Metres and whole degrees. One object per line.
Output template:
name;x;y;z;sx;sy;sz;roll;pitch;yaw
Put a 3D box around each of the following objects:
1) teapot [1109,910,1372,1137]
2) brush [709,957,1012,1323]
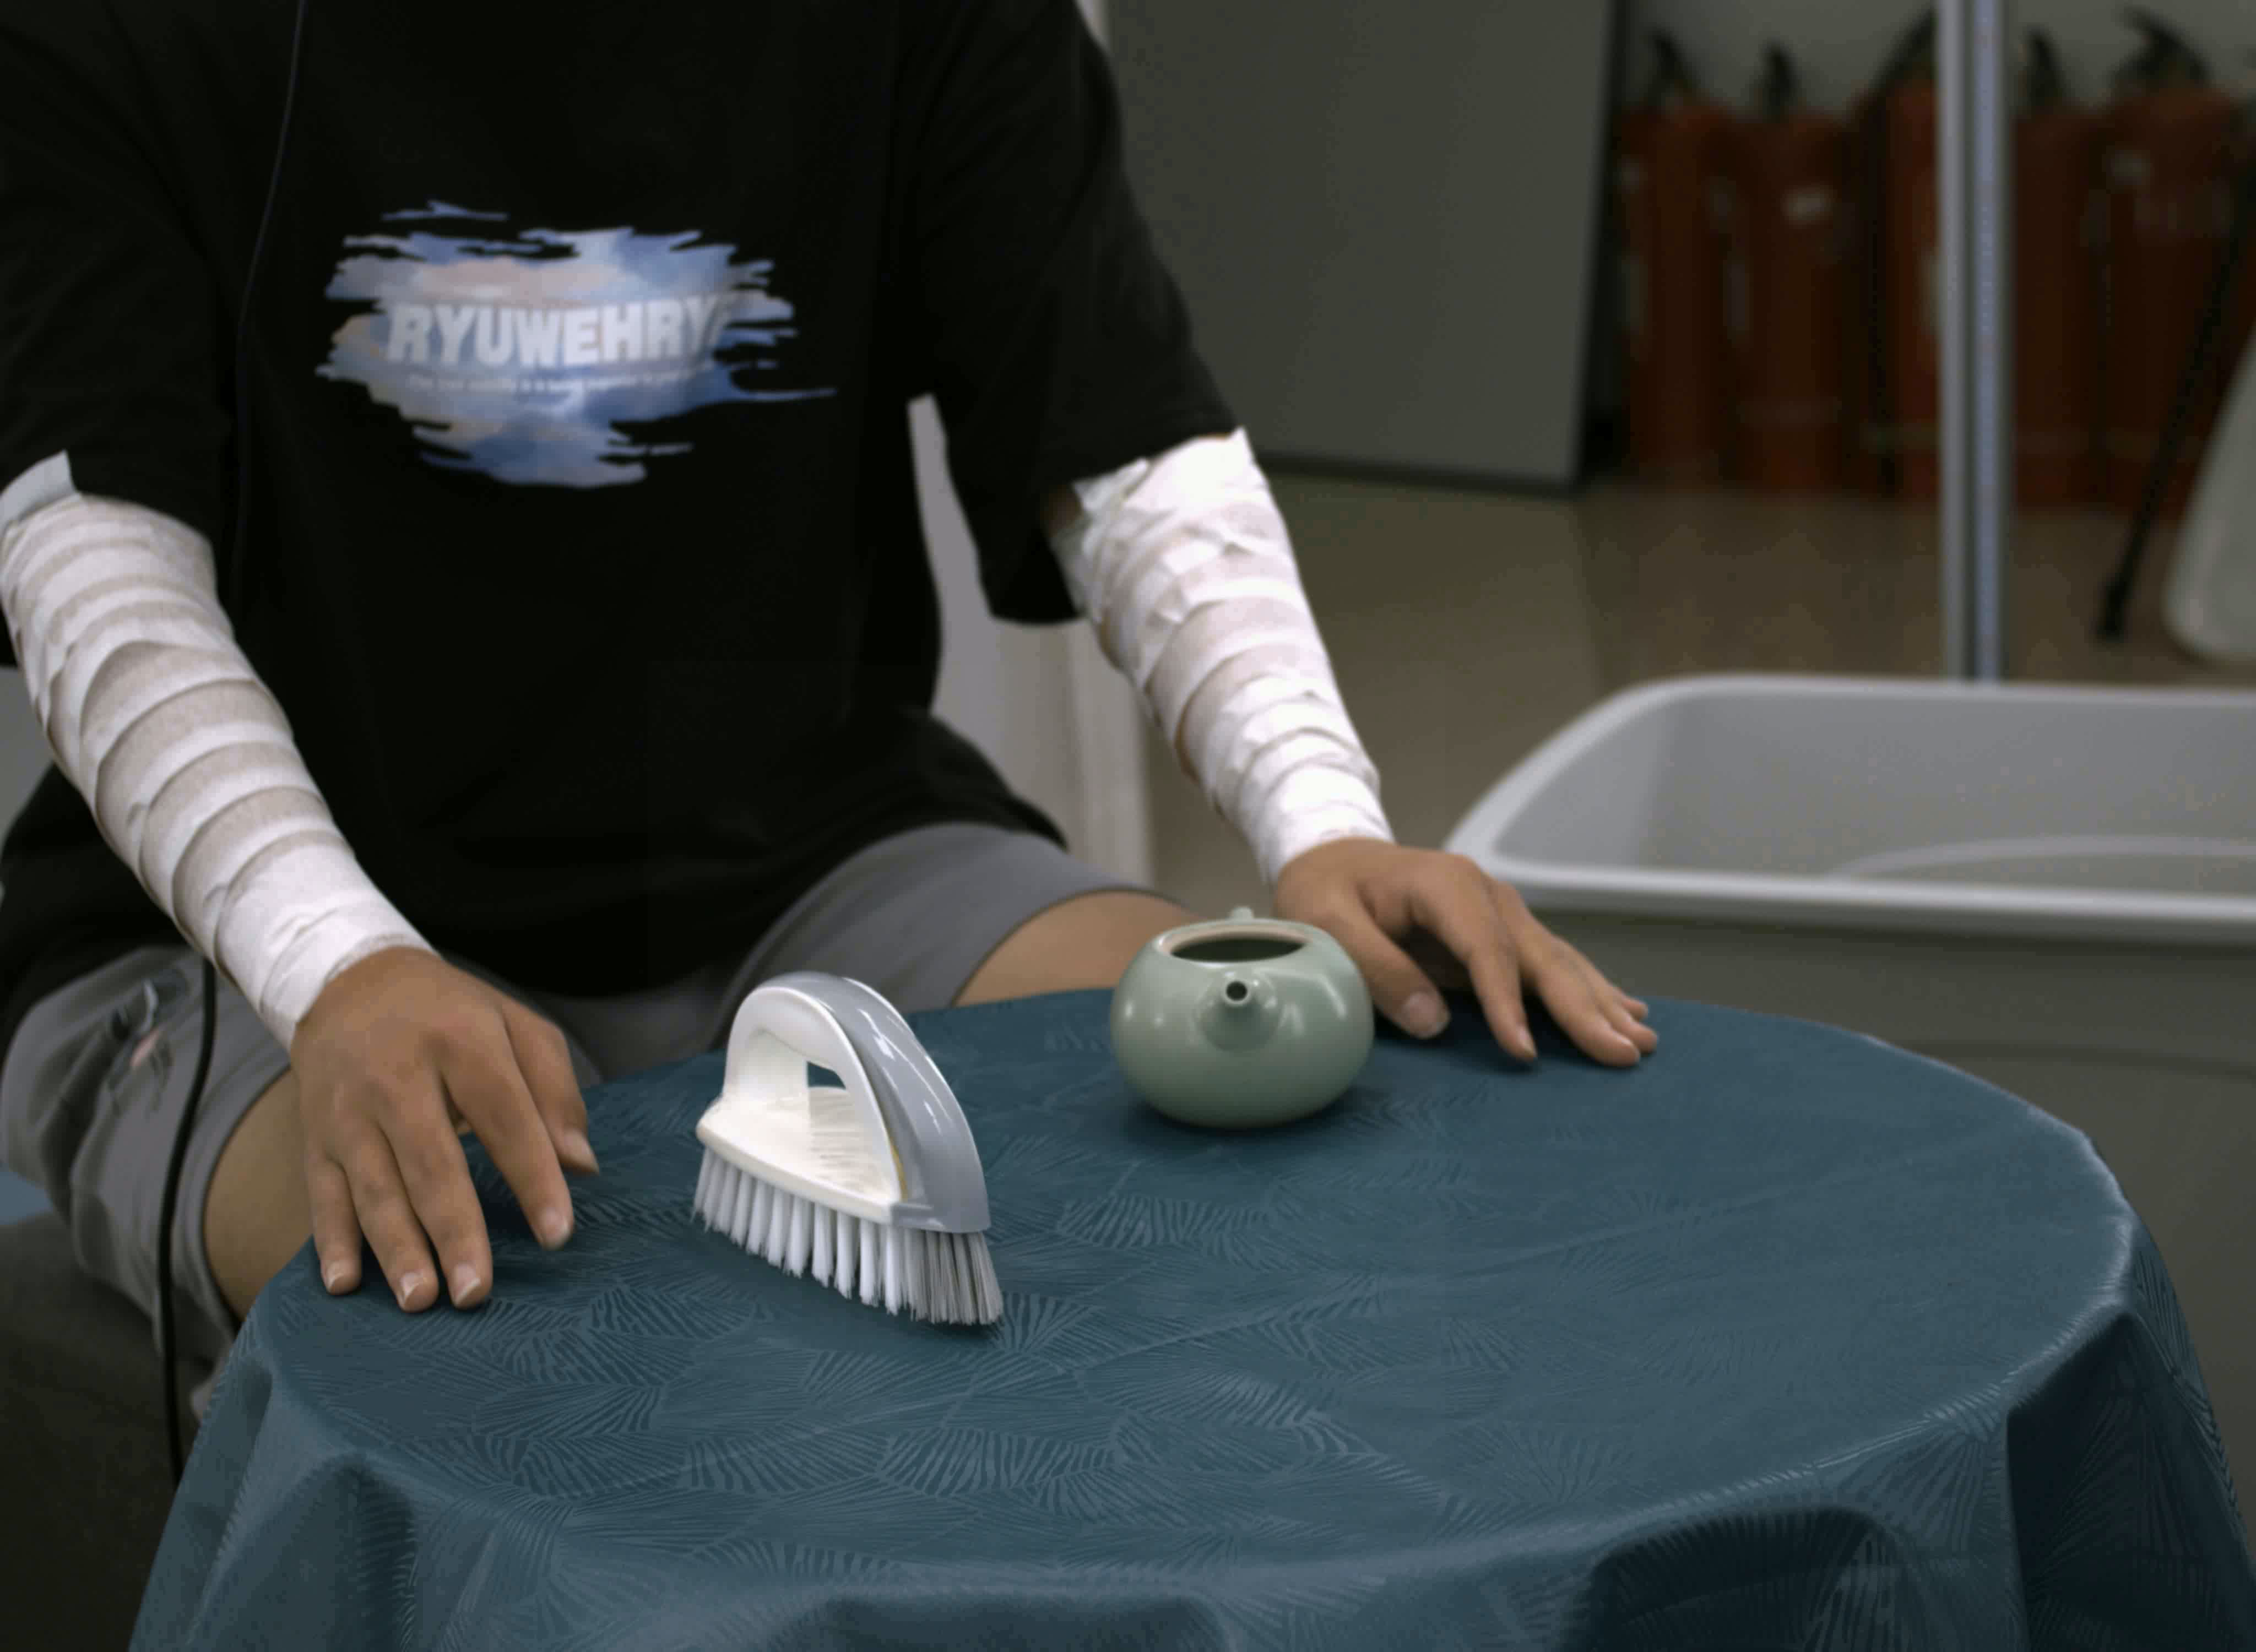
teapot;0.040;0.067;1.857;0.091;0.061;0.128;-4;13;8
brush;-0.081;0.095;1.709;0.060;0.095;0.177;-13;17;-23
